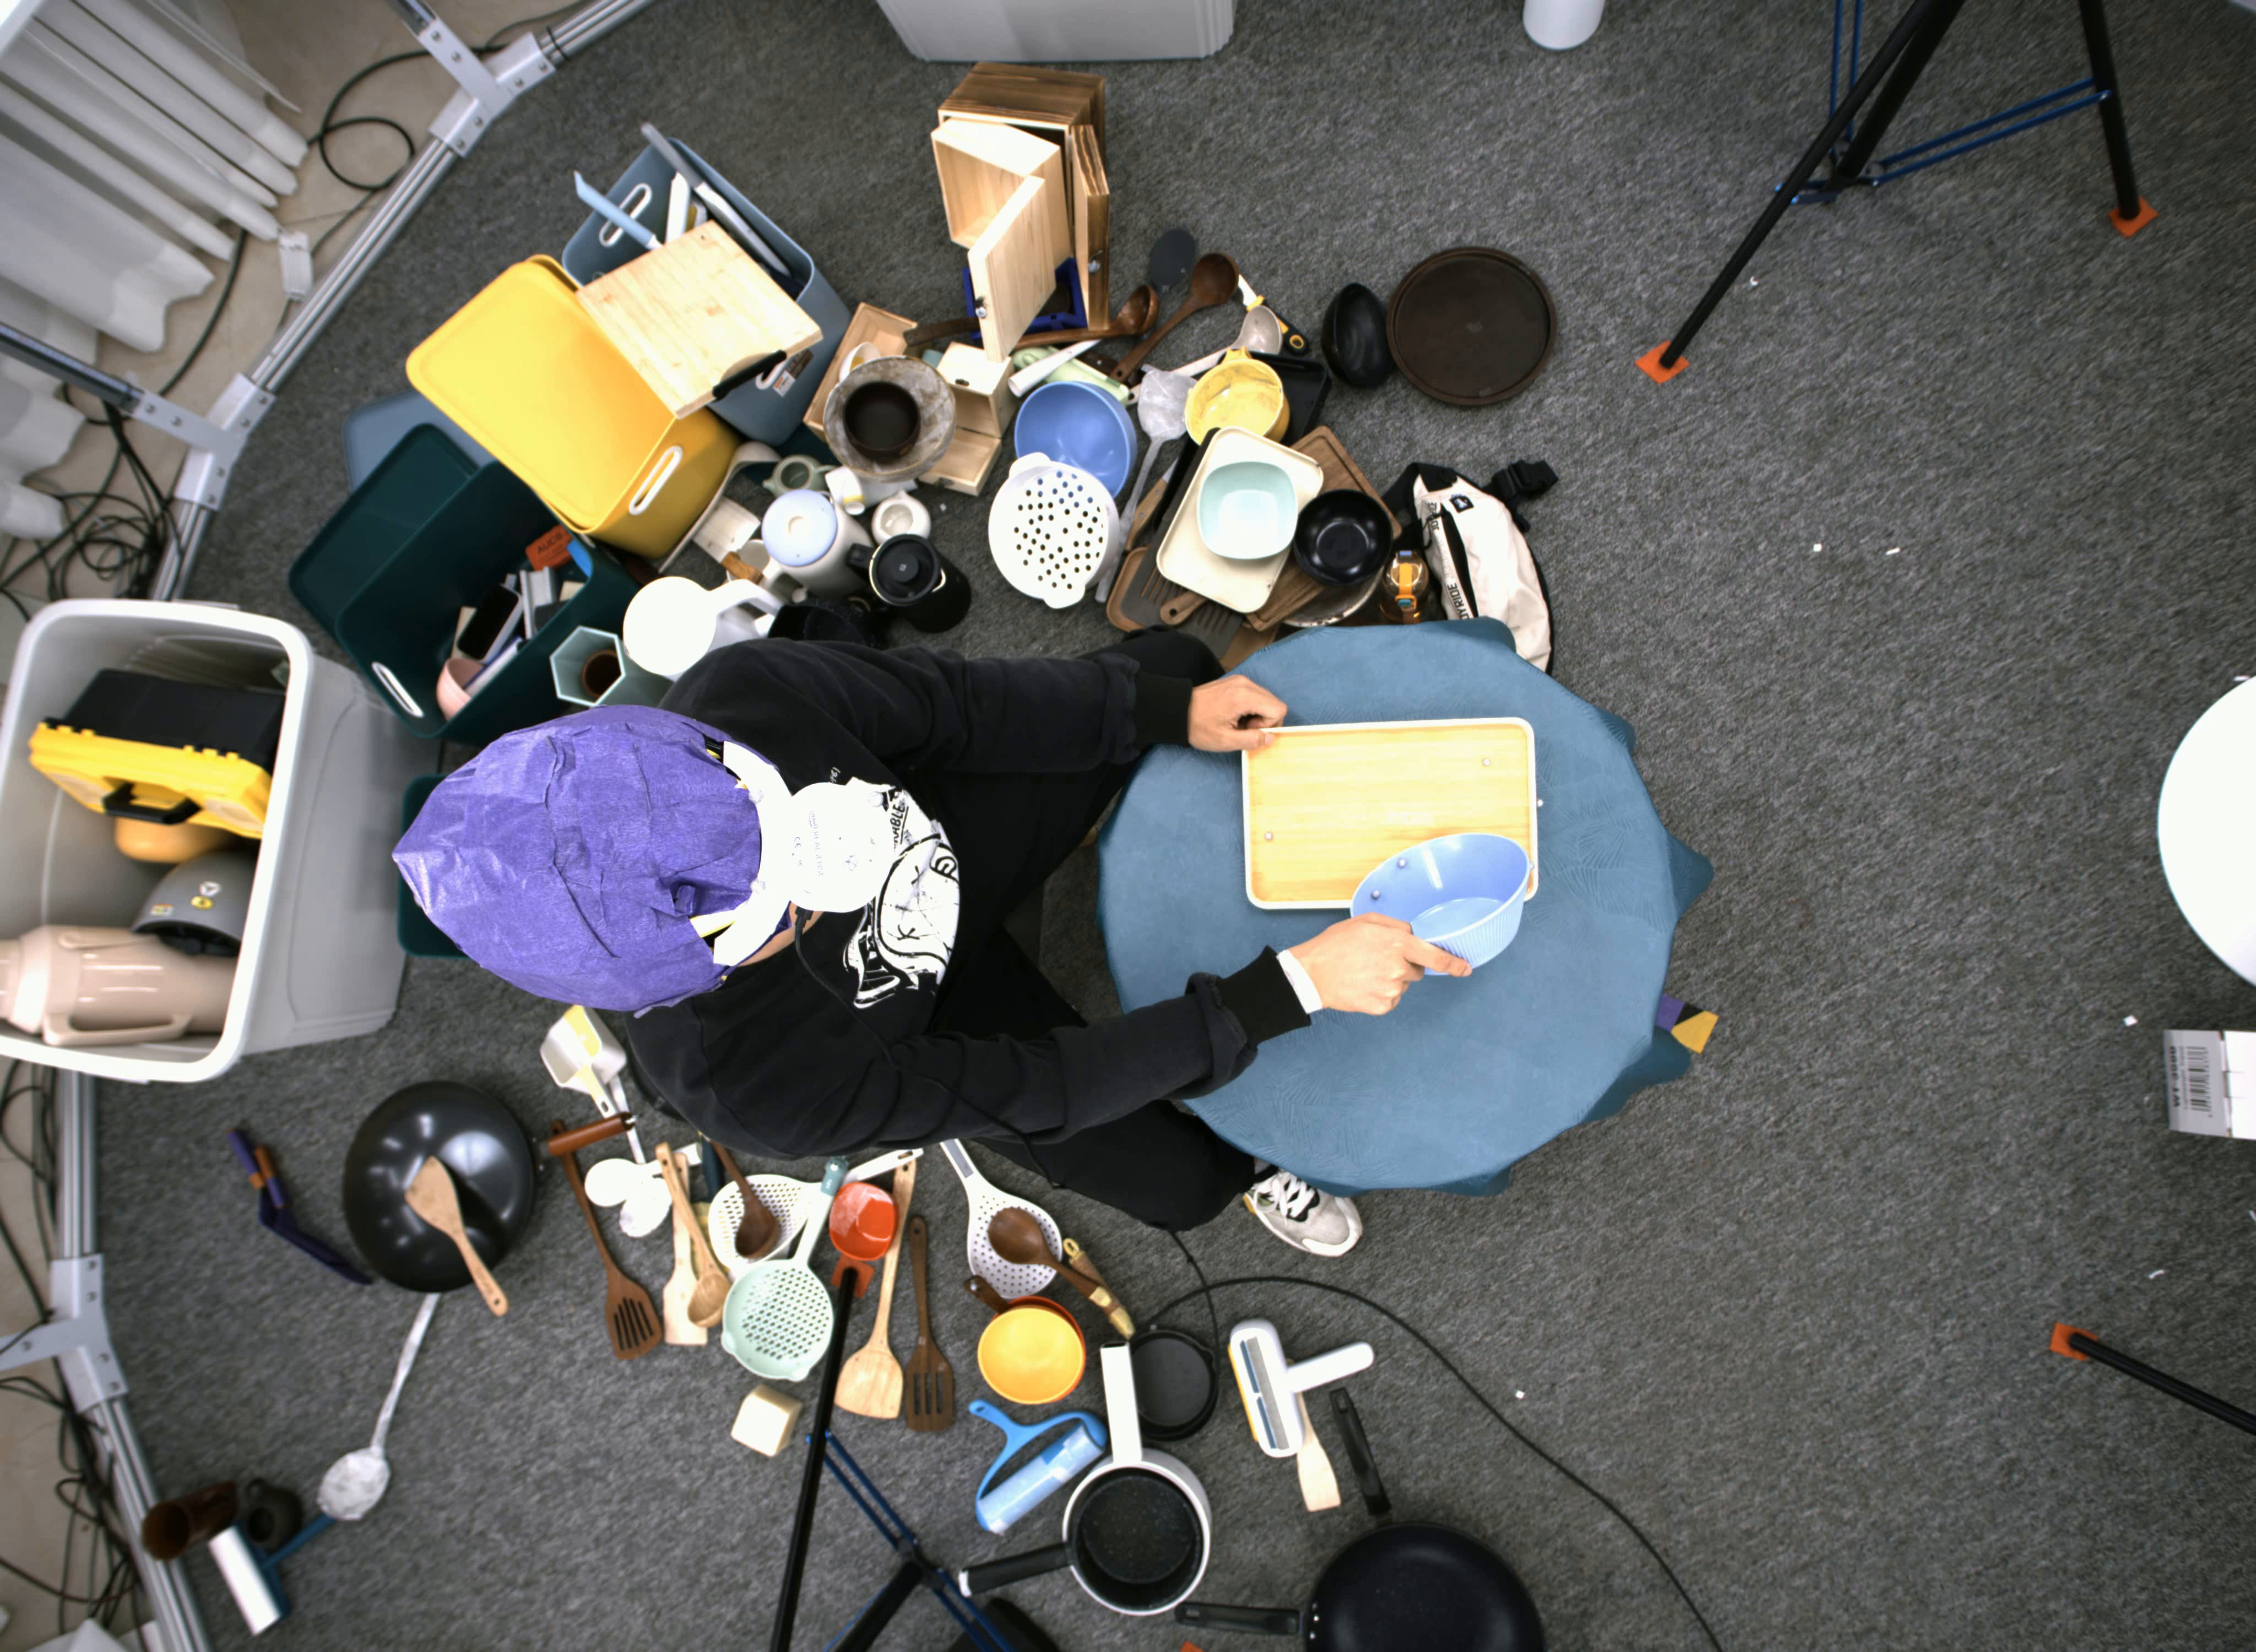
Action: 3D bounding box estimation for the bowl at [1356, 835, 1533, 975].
[{"bbox_3d":[0.312,0.082,1.327,0.177,0.172,0.071,-23,113,7],"label":"bowl"}]

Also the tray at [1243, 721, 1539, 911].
[{"bbox_3d":[0.274,-0.011,1.445,0.301,0.027,0.192,-2,94,10],"label":"tray"}]
